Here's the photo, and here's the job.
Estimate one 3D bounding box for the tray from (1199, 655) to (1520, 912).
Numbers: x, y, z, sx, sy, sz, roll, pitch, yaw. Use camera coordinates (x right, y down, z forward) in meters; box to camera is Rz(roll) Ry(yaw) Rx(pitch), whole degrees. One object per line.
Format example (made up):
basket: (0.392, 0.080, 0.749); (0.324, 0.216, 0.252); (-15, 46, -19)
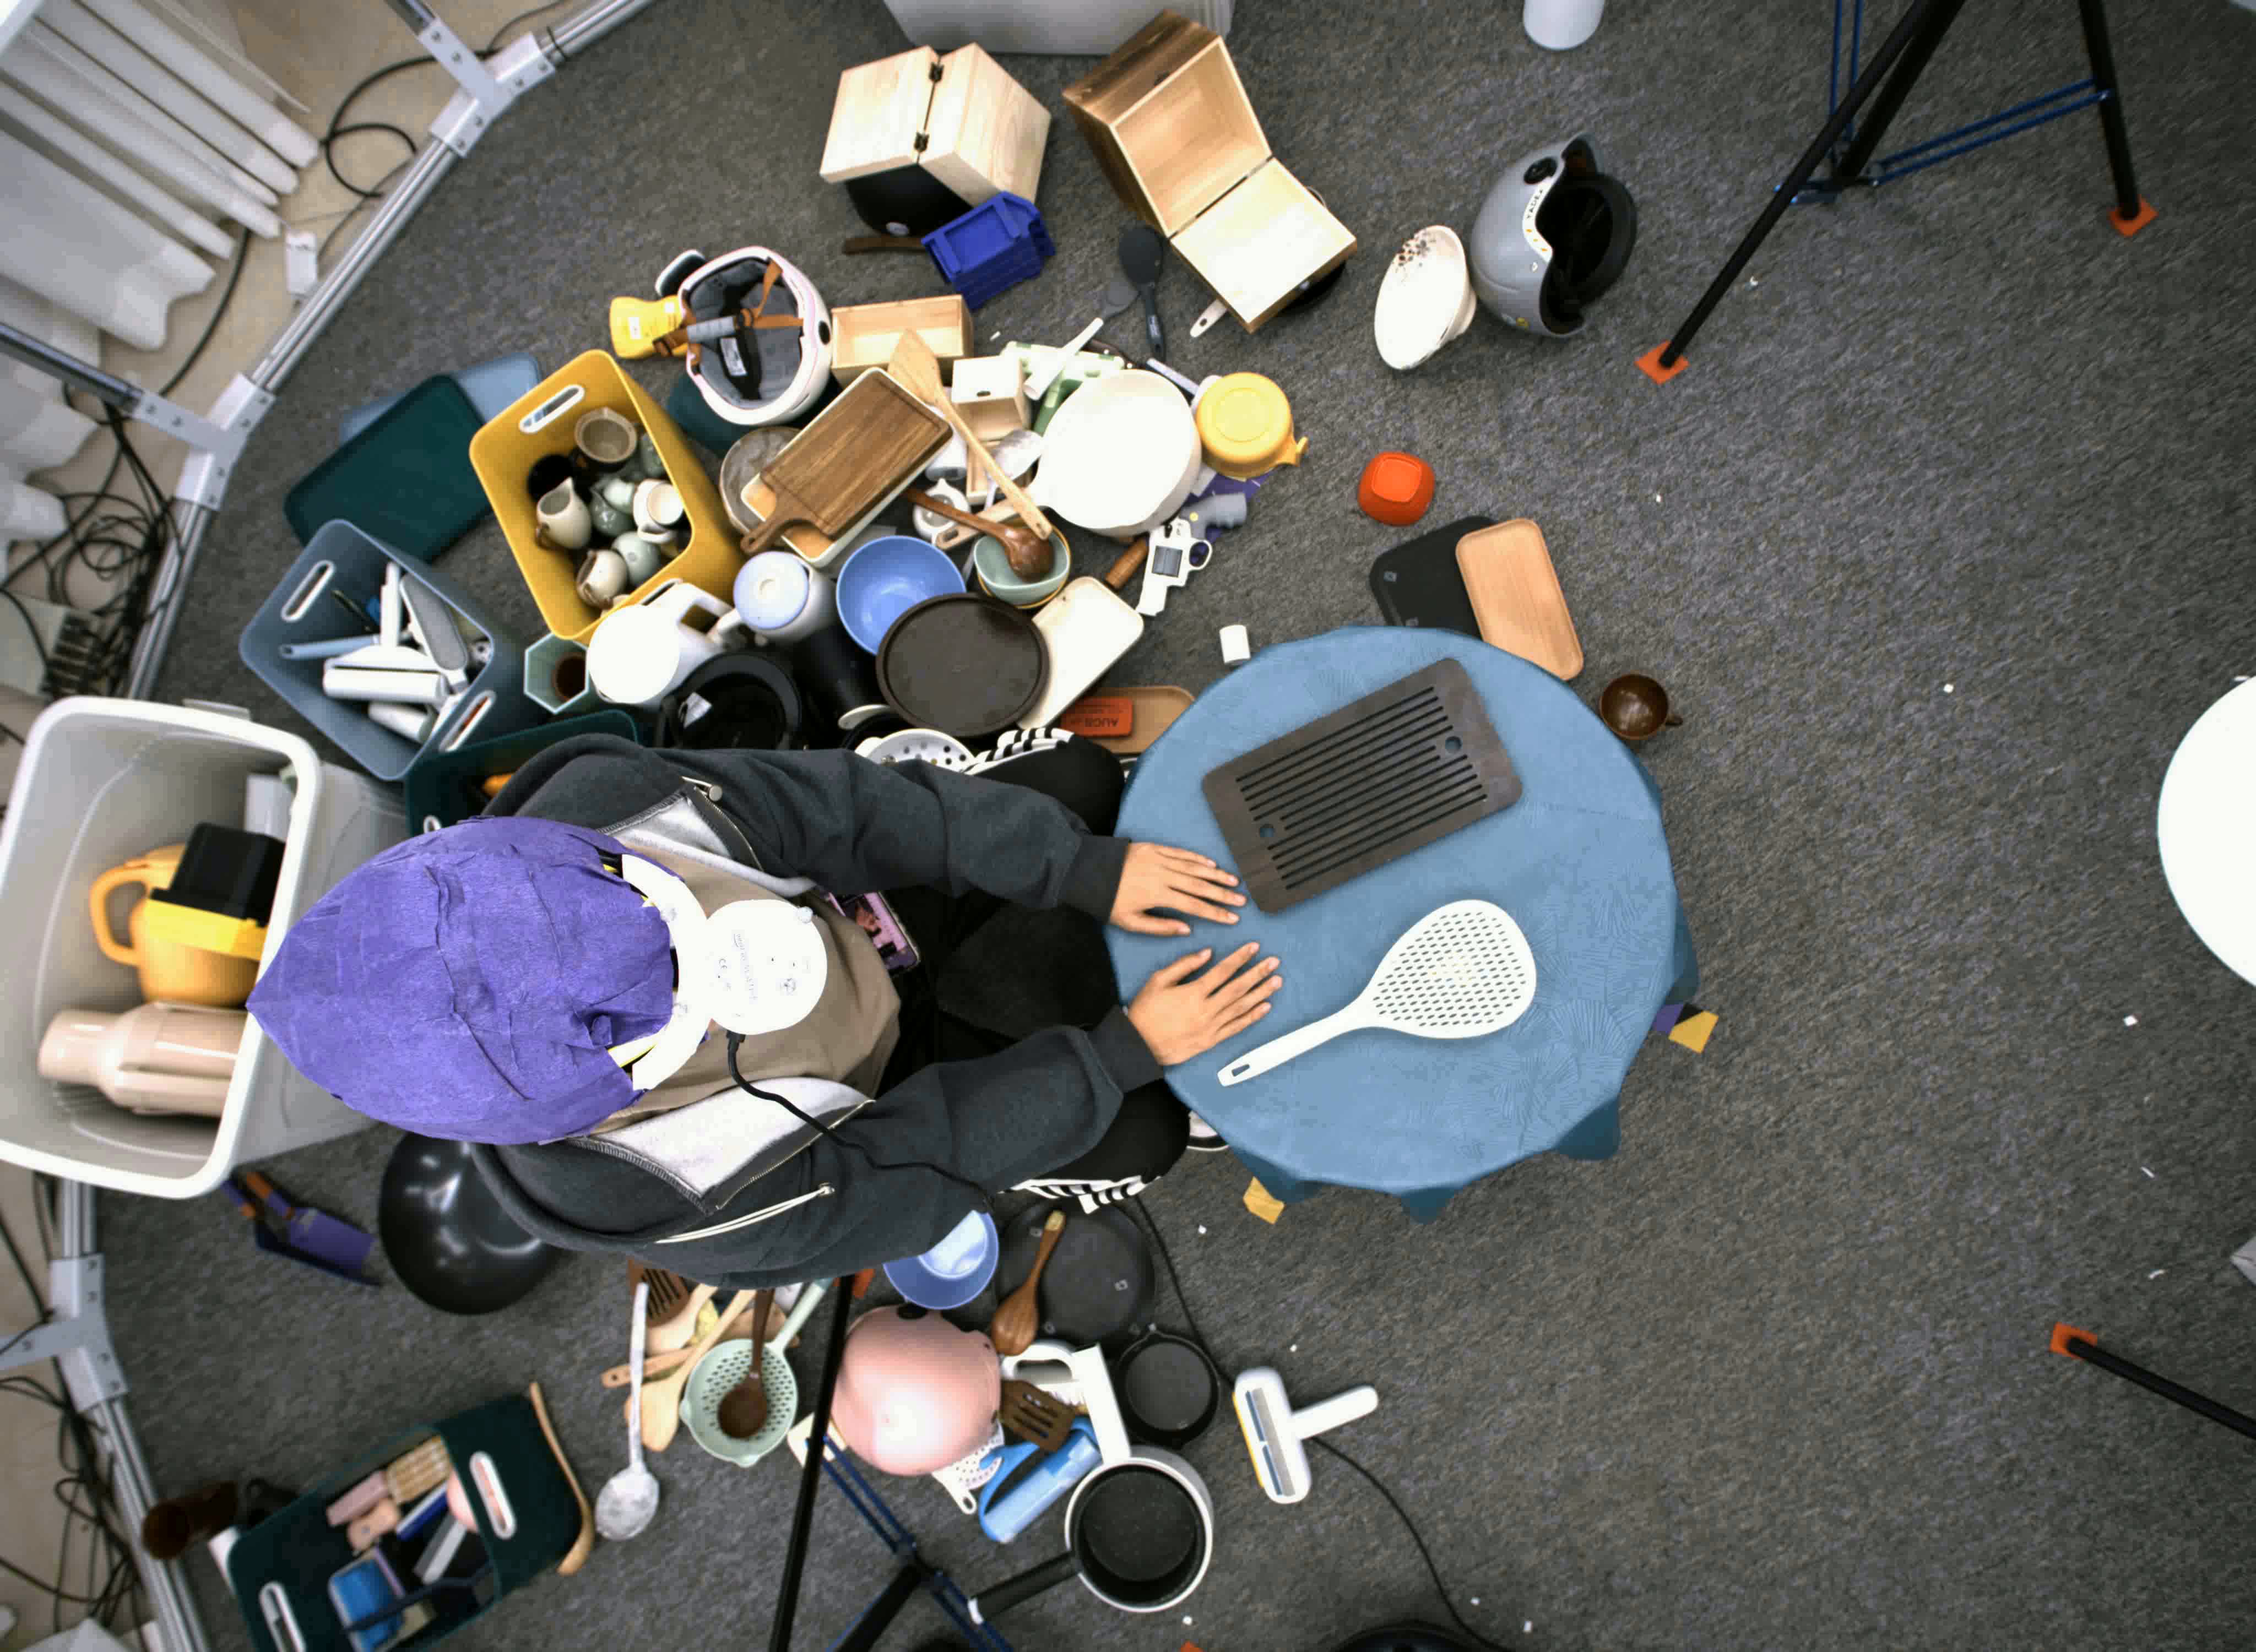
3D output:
tray: (0.243, -0.045, 1.462); (0.308, 0.018, 0.169); (-26, 83, 8)

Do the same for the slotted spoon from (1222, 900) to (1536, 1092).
slotted spoon: (0.250, 0.192, 1.435); (0.350, 0.050, 0.136); (-26, 84, 8)
